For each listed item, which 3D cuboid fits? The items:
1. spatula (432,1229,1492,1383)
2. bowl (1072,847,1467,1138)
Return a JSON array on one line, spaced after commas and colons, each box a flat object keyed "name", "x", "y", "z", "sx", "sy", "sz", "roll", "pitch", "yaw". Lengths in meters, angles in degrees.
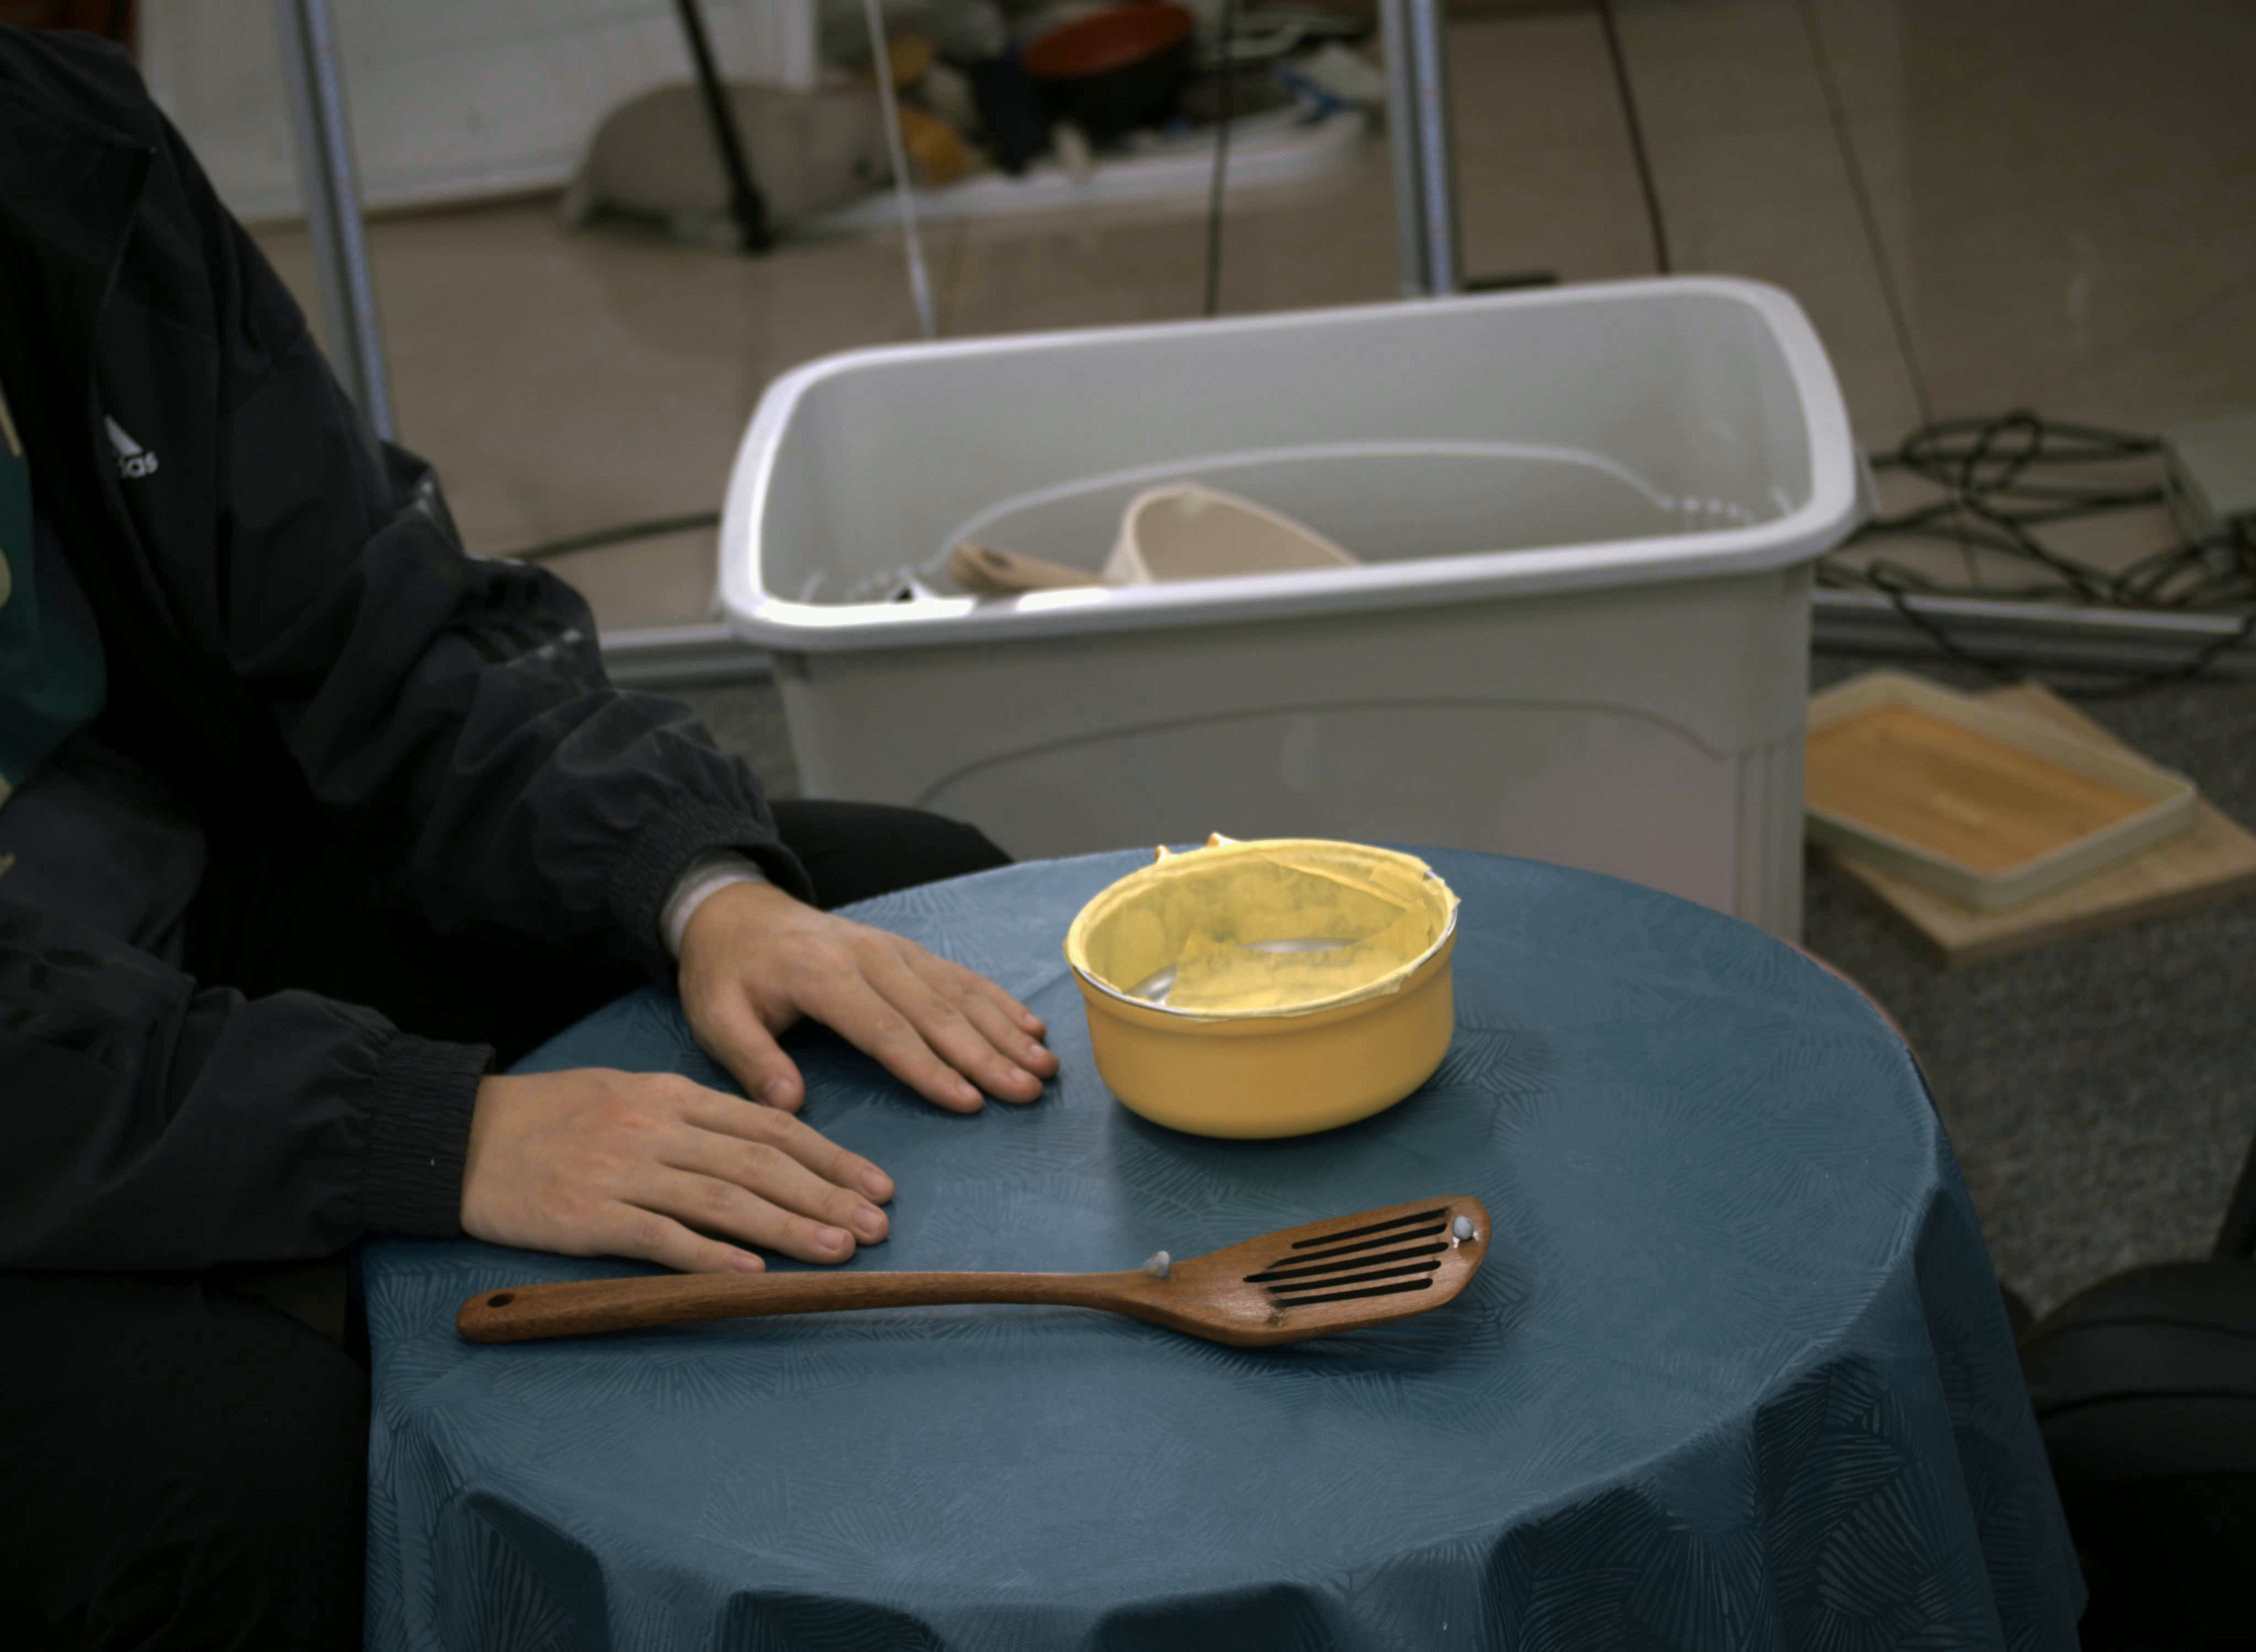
[{"name": "spatula", "x": -0.060, "y": 0.181, "z": 2.061, "sx": 0.386, "sy": 0.024, "sz": 0.084, "roll": -4, "pitch": 16, "yaw": 0}, {"name": "bowl", "x": 0.053, "y": 0.063, "z": 2.221, "sx": 0.152, "sy": 0.075, "sz": 0.177, "roll": -14, "pitch": 26, "yaw": -18}]
